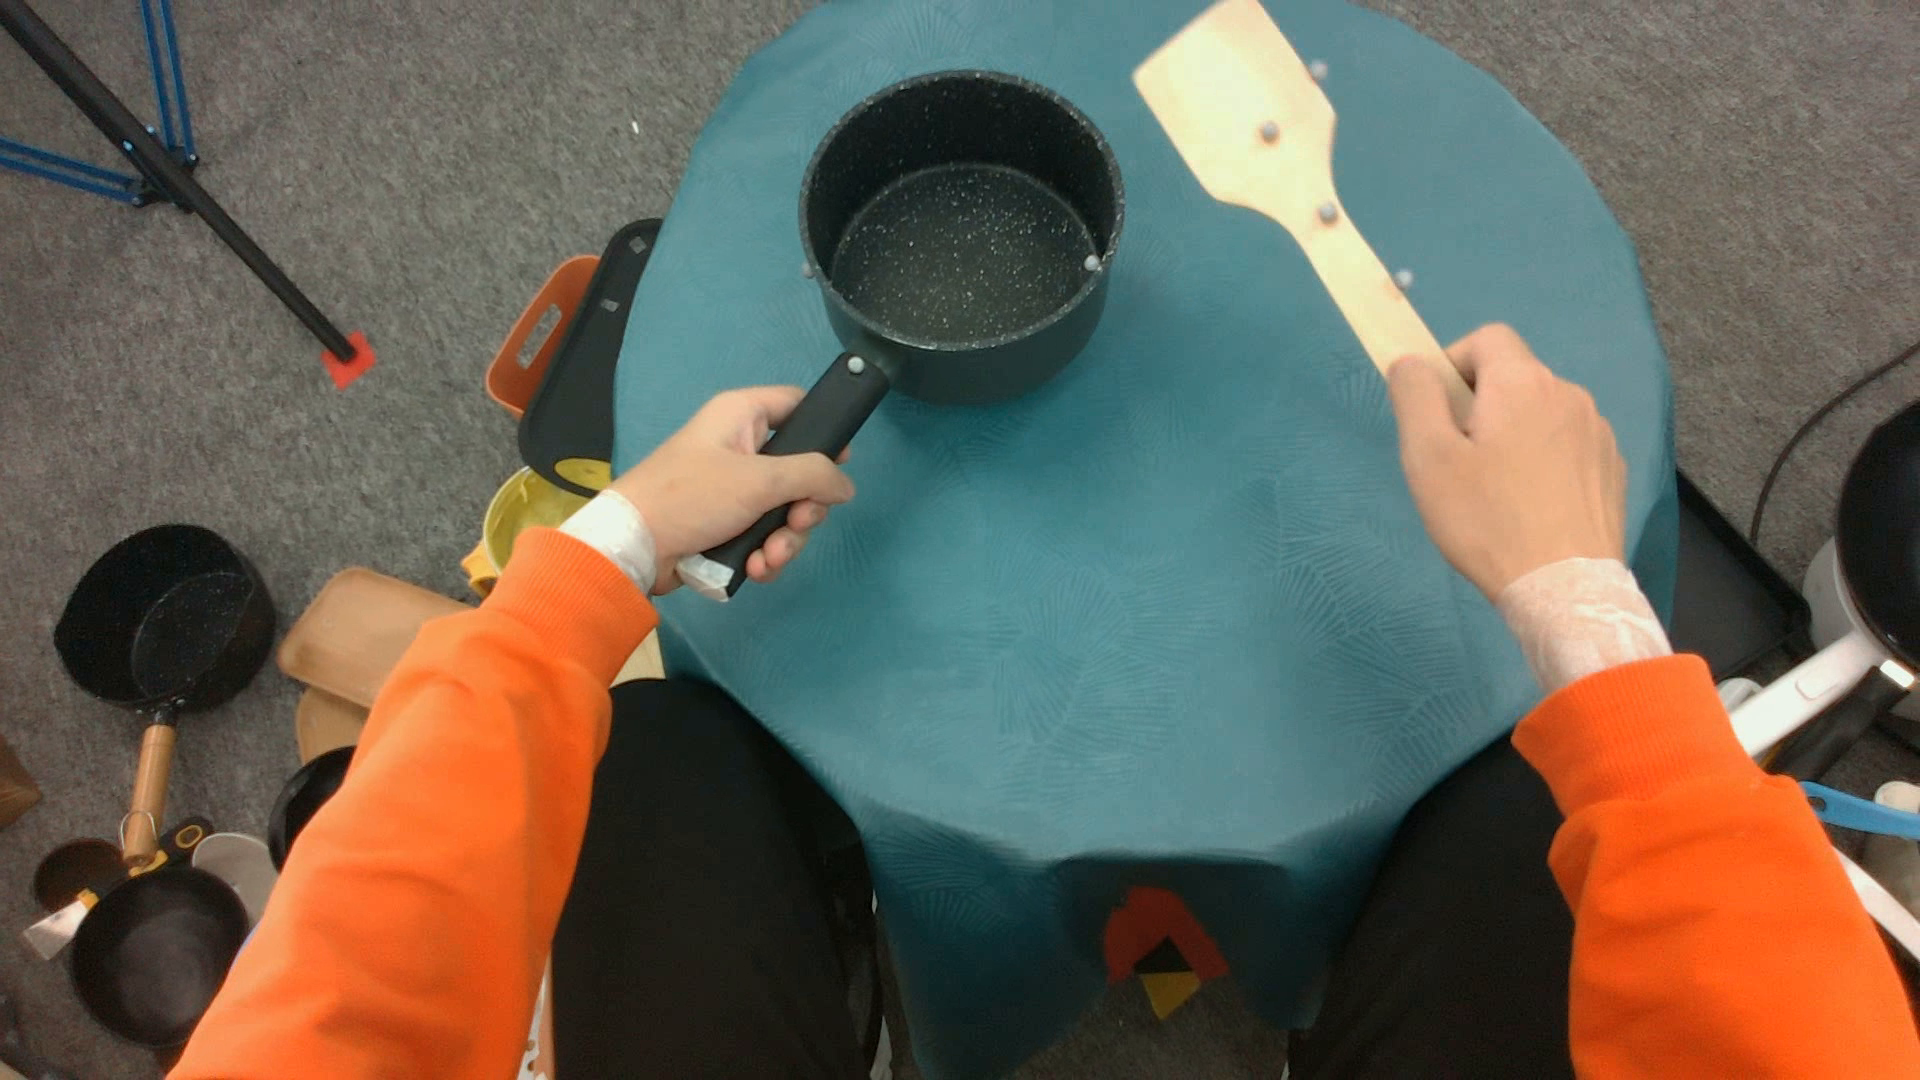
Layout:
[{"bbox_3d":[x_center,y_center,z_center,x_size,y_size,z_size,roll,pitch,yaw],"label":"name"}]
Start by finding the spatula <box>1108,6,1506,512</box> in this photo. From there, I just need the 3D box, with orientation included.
[{"bbox_3d":[0.165,-0.135,0.652,0.072,0.010,0.293,-38,65,22],"label":"spatula"}]

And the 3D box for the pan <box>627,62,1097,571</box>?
[{"bbox_3d":[-0.055,-0.107,0.728,0.172,0.086,0.330,30,70,14],"label":"pan"}]
